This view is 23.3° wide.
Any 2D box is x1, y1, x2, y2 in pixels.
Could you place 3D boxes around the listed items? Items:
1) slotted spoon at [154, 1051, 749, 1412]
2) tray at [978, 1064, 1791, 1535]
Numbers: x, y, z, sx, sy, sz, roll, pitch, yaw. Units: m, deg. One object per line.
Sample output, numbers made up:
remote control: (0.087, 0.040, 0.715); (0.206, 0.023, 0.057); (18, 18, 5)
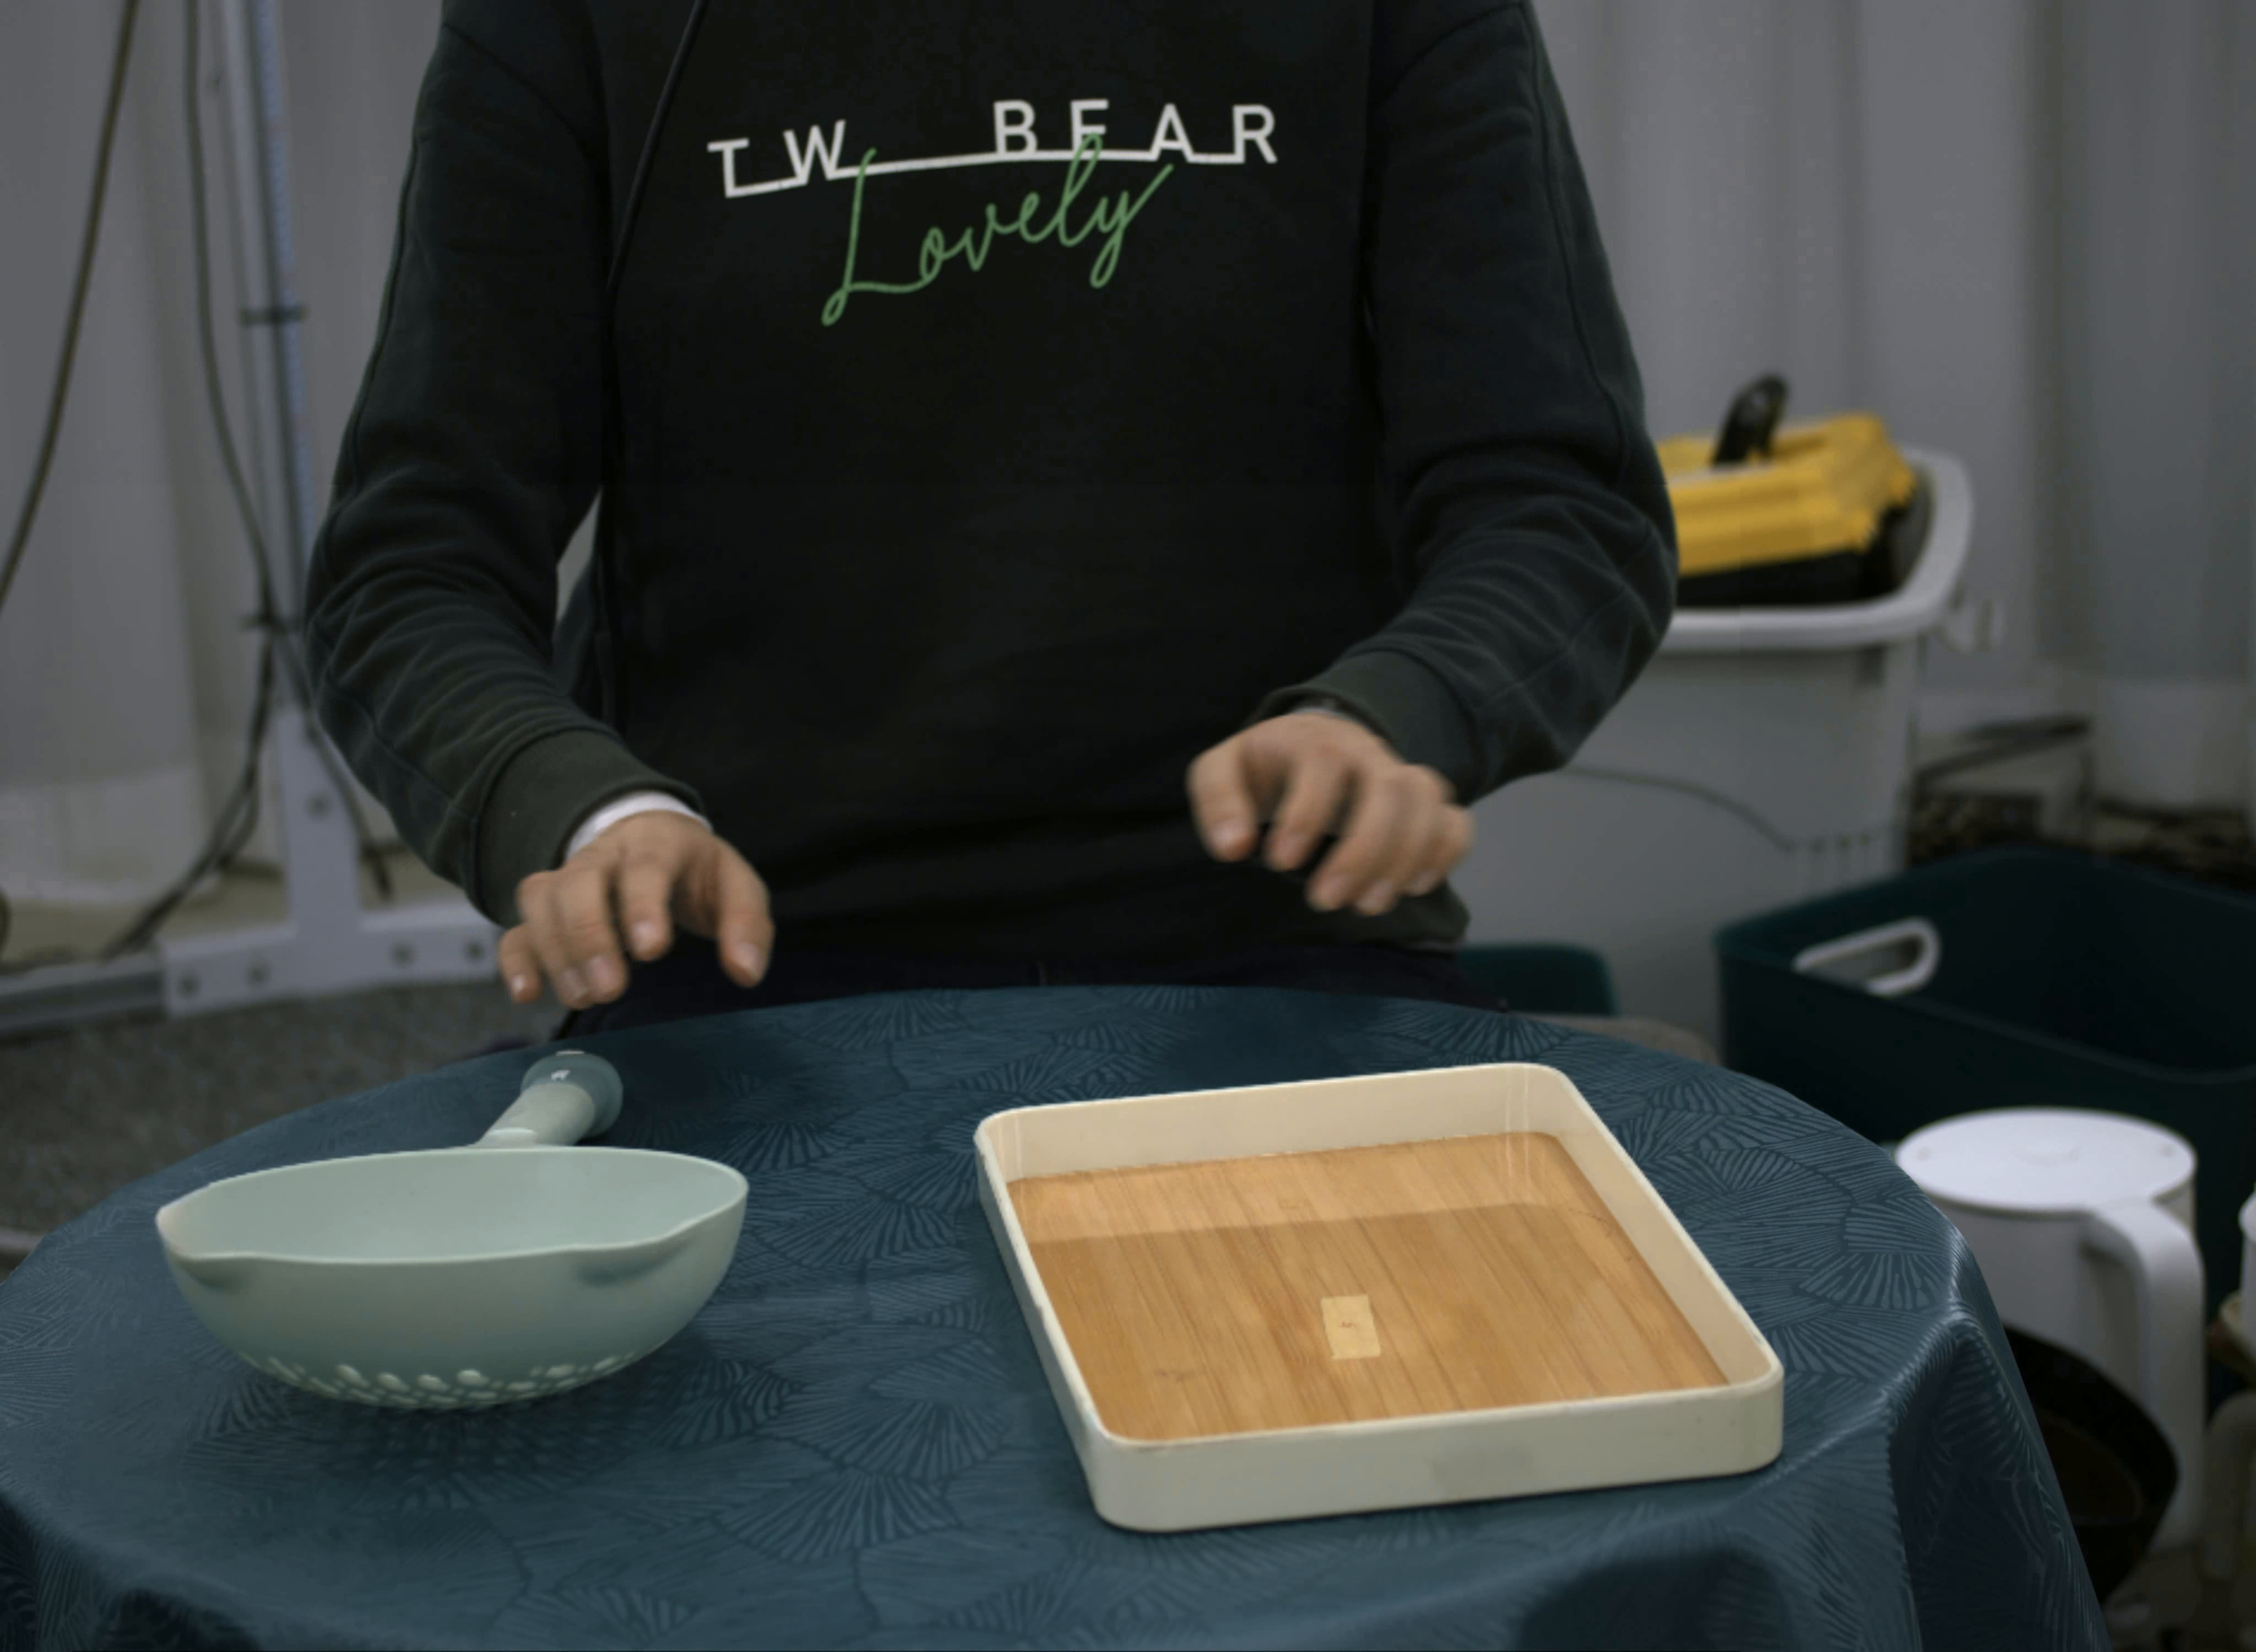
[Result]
slotted spoon: (-0.187, 0.107, 1.655); (0.169, 0.075, 0.361); (-1, 15, 3)
tray: (0.066, 0.132, 1.587); (0.191, 0.027, 0.302); (-5, 15, -7)
